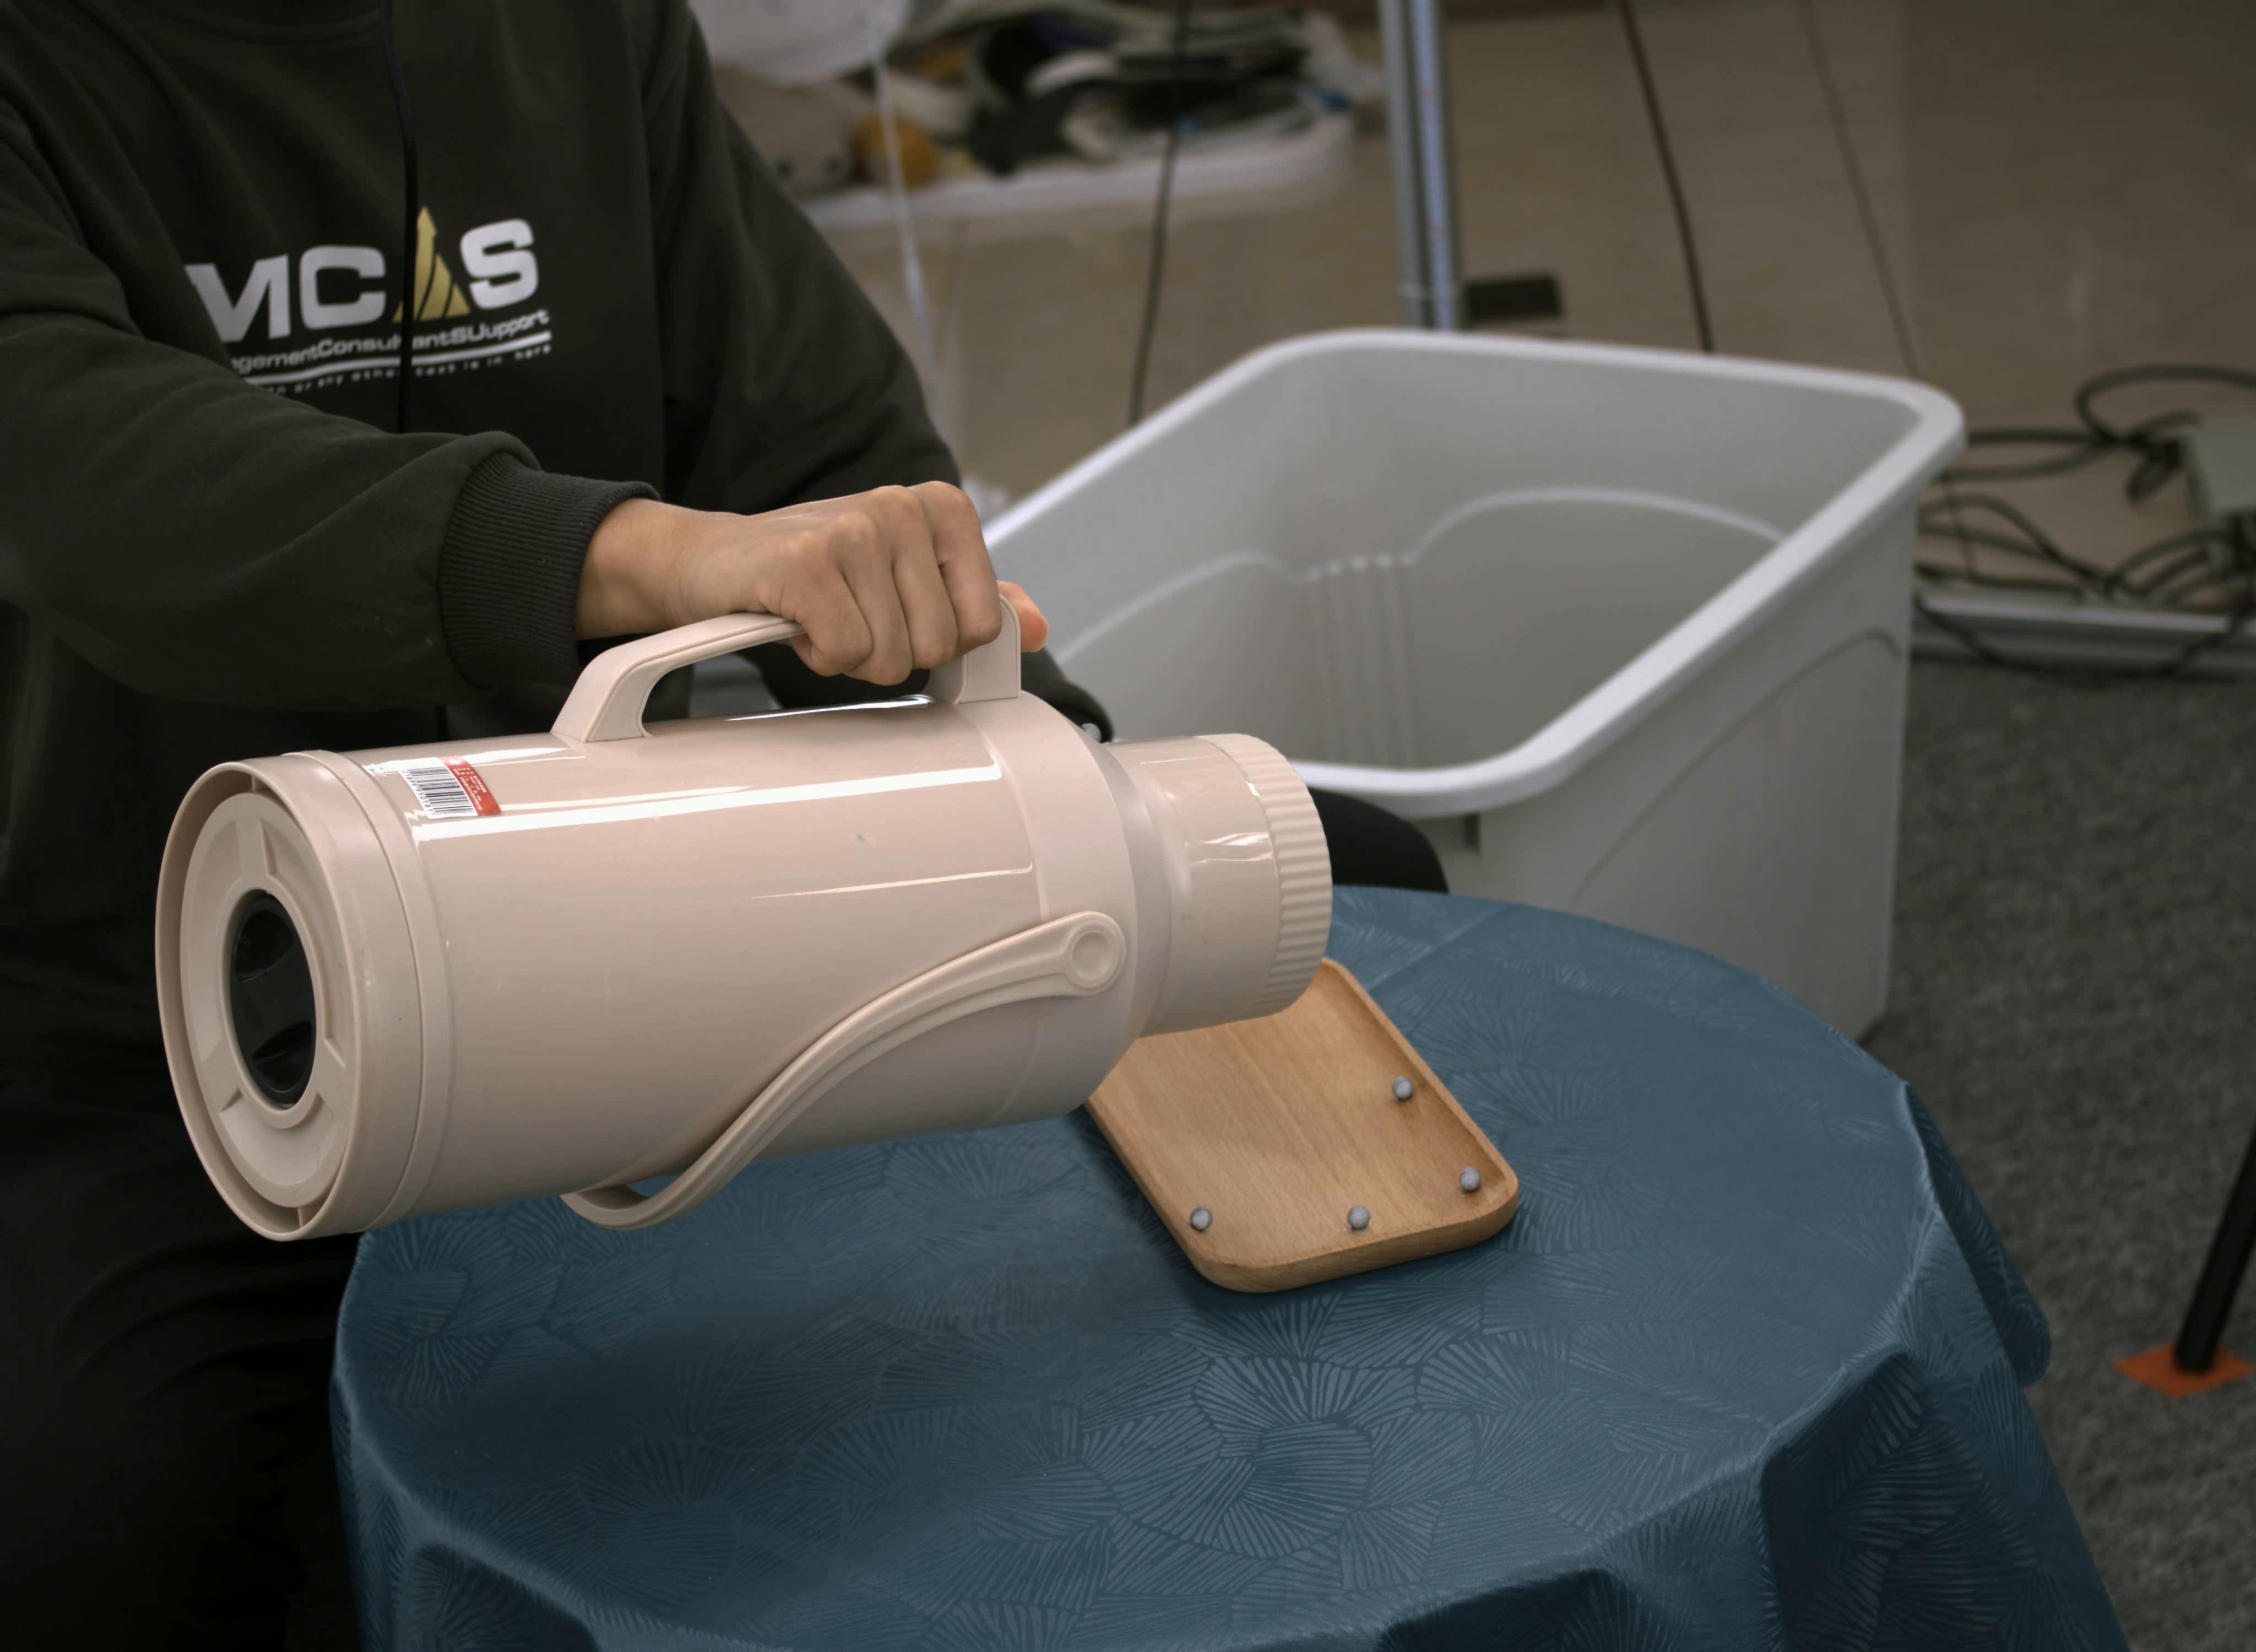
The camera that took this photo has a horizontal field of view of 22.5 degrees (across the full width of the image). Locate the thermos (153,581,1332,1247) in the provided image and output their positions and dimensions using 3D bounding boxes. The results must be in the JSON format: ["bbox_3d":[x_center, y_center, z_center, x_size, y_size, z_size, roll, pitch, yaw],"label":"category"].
[{"bbox_3d":[-0.124,0.024,1.965,0.405,0.209,0.174,-7,16,-31],"label":"thermos"}]

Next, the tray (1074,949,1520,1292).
[{"bbox_3d":[0.057,0.111,2.175,0.130,0.023,0.247,-10,24,-13],"label":"tray"}]
